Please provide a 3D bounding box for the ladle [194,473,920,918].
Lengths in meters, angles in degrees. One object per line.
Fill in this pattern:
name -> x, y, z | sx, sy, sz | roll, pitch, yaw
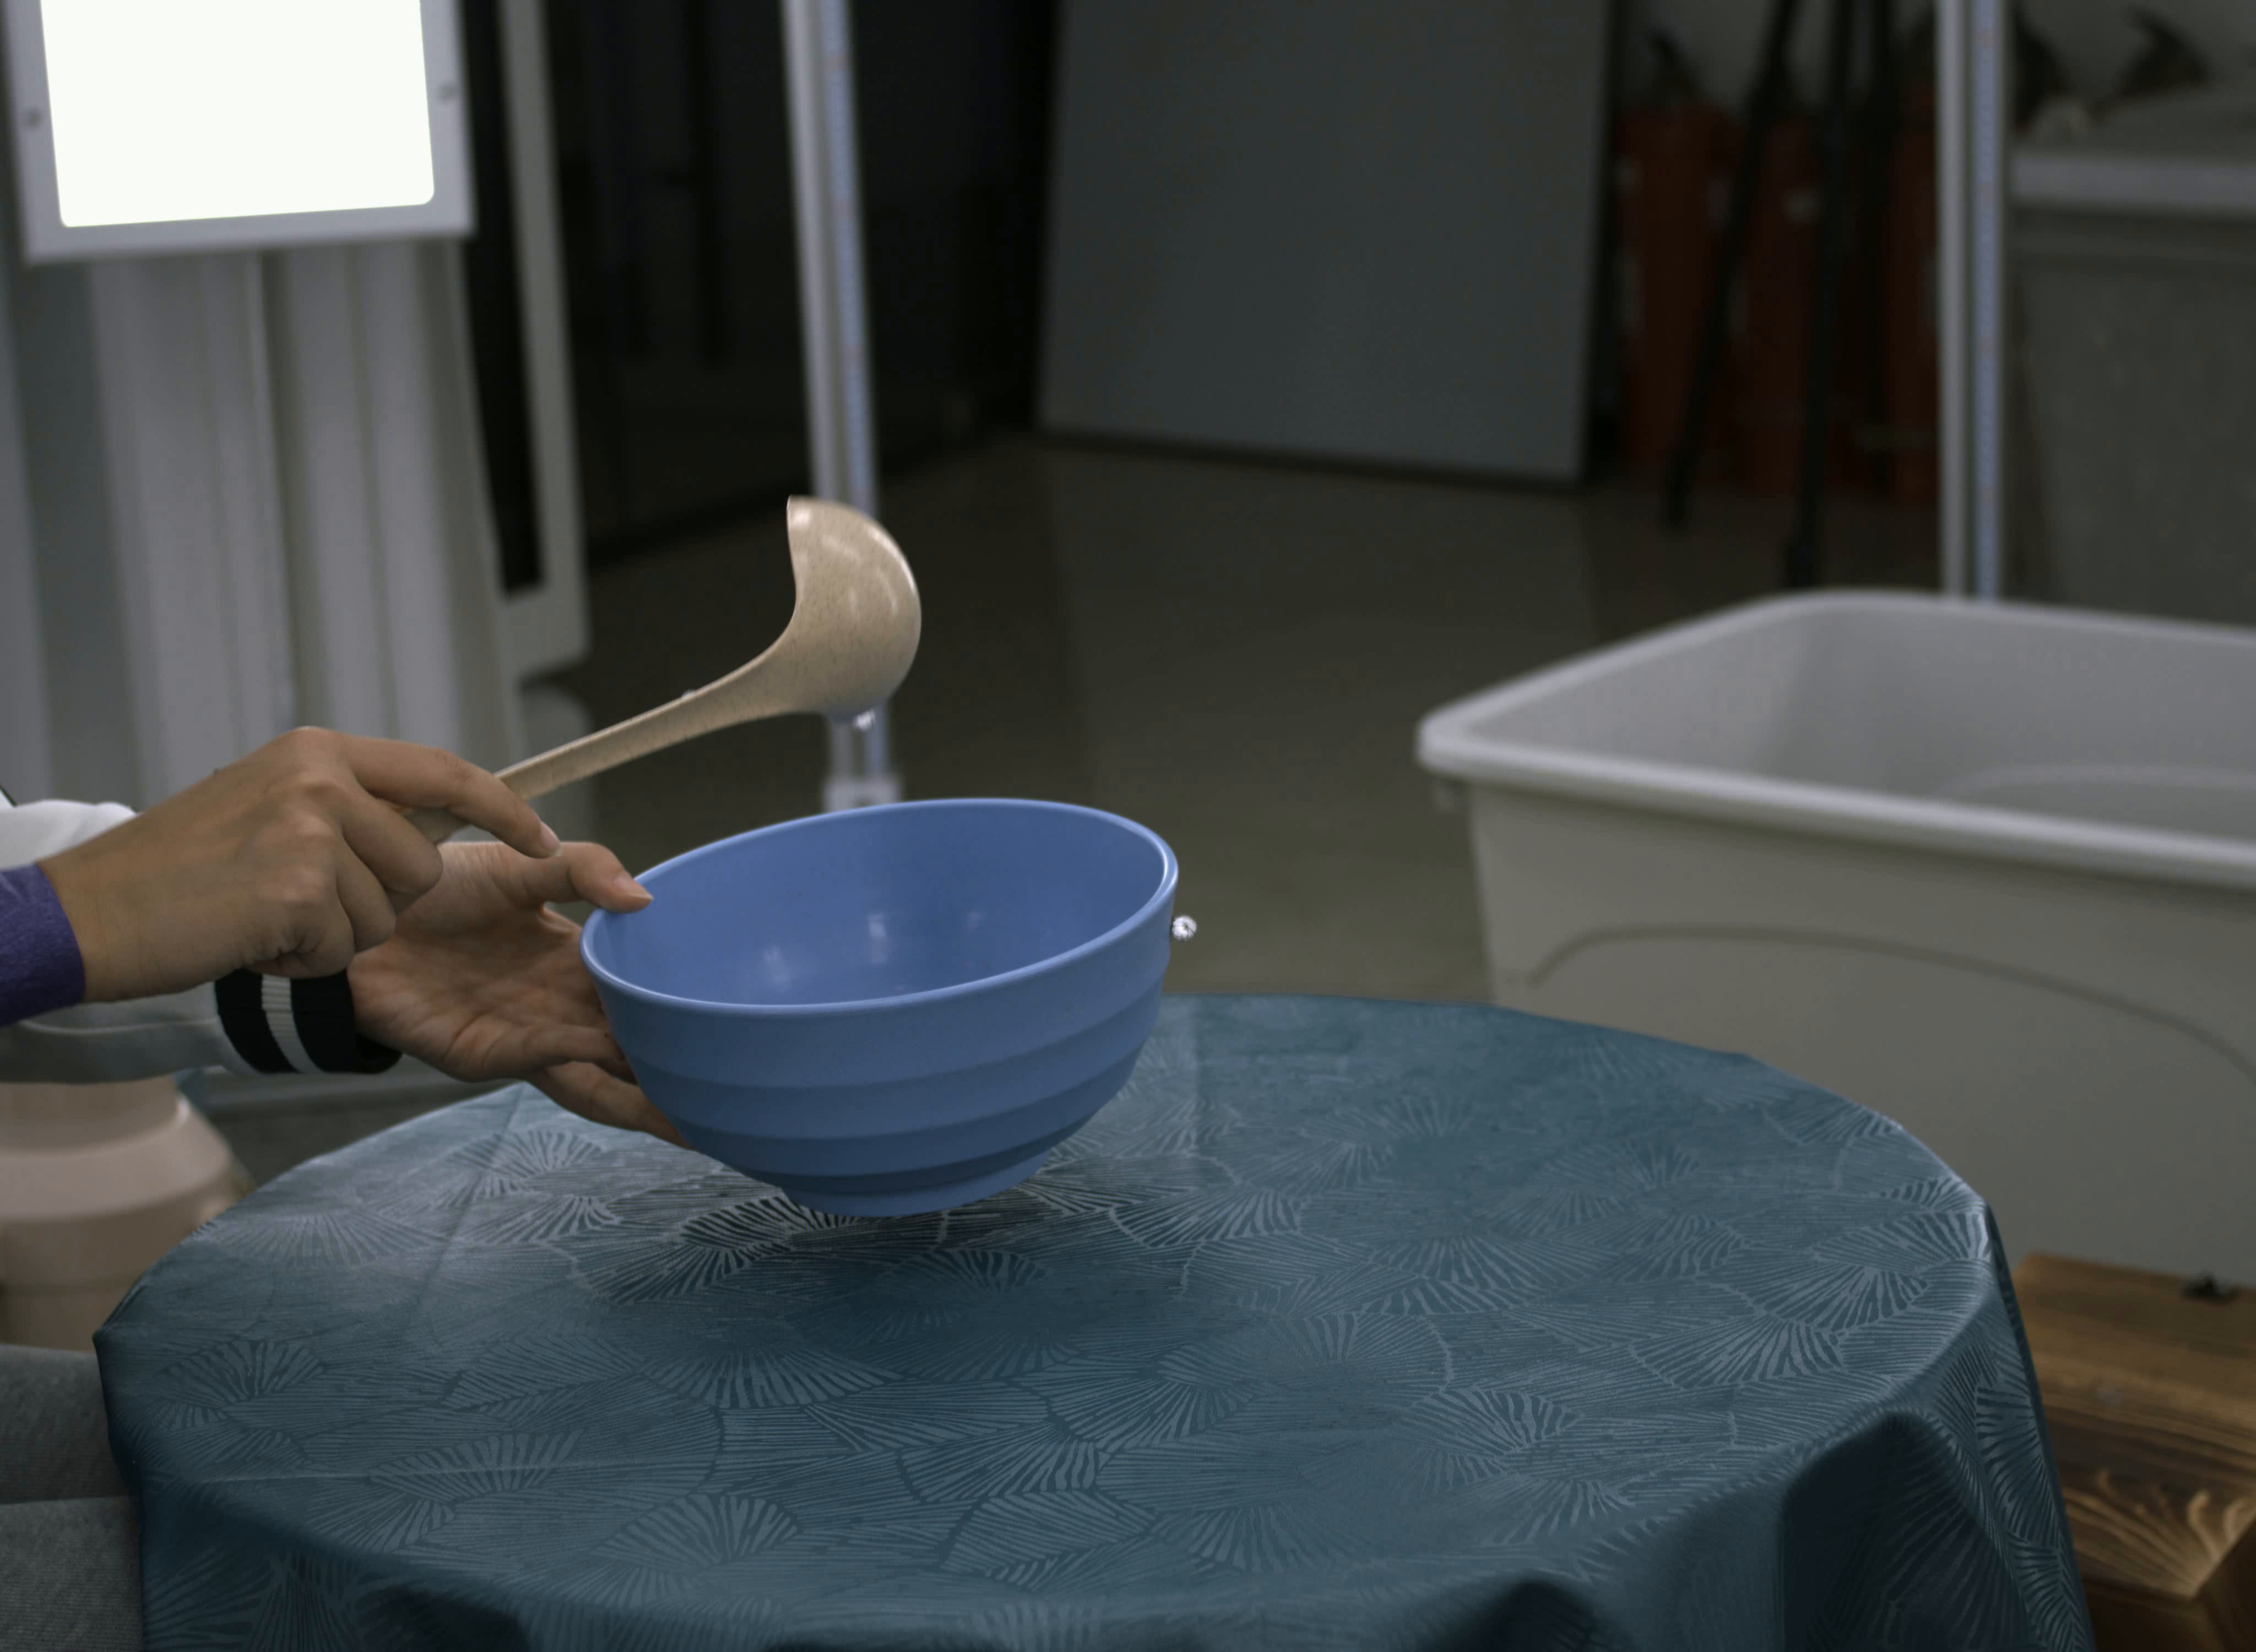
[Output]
ladle -> -0.181, -0.037, 1.661 | 0.250, 0.072, 0.073 | -23, 32, -19

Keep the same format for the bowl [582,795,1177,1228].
bowl -> -0.075, 0.069, 1.759 | 0.194, 0.096, 0.197 | -7, 19, 2
